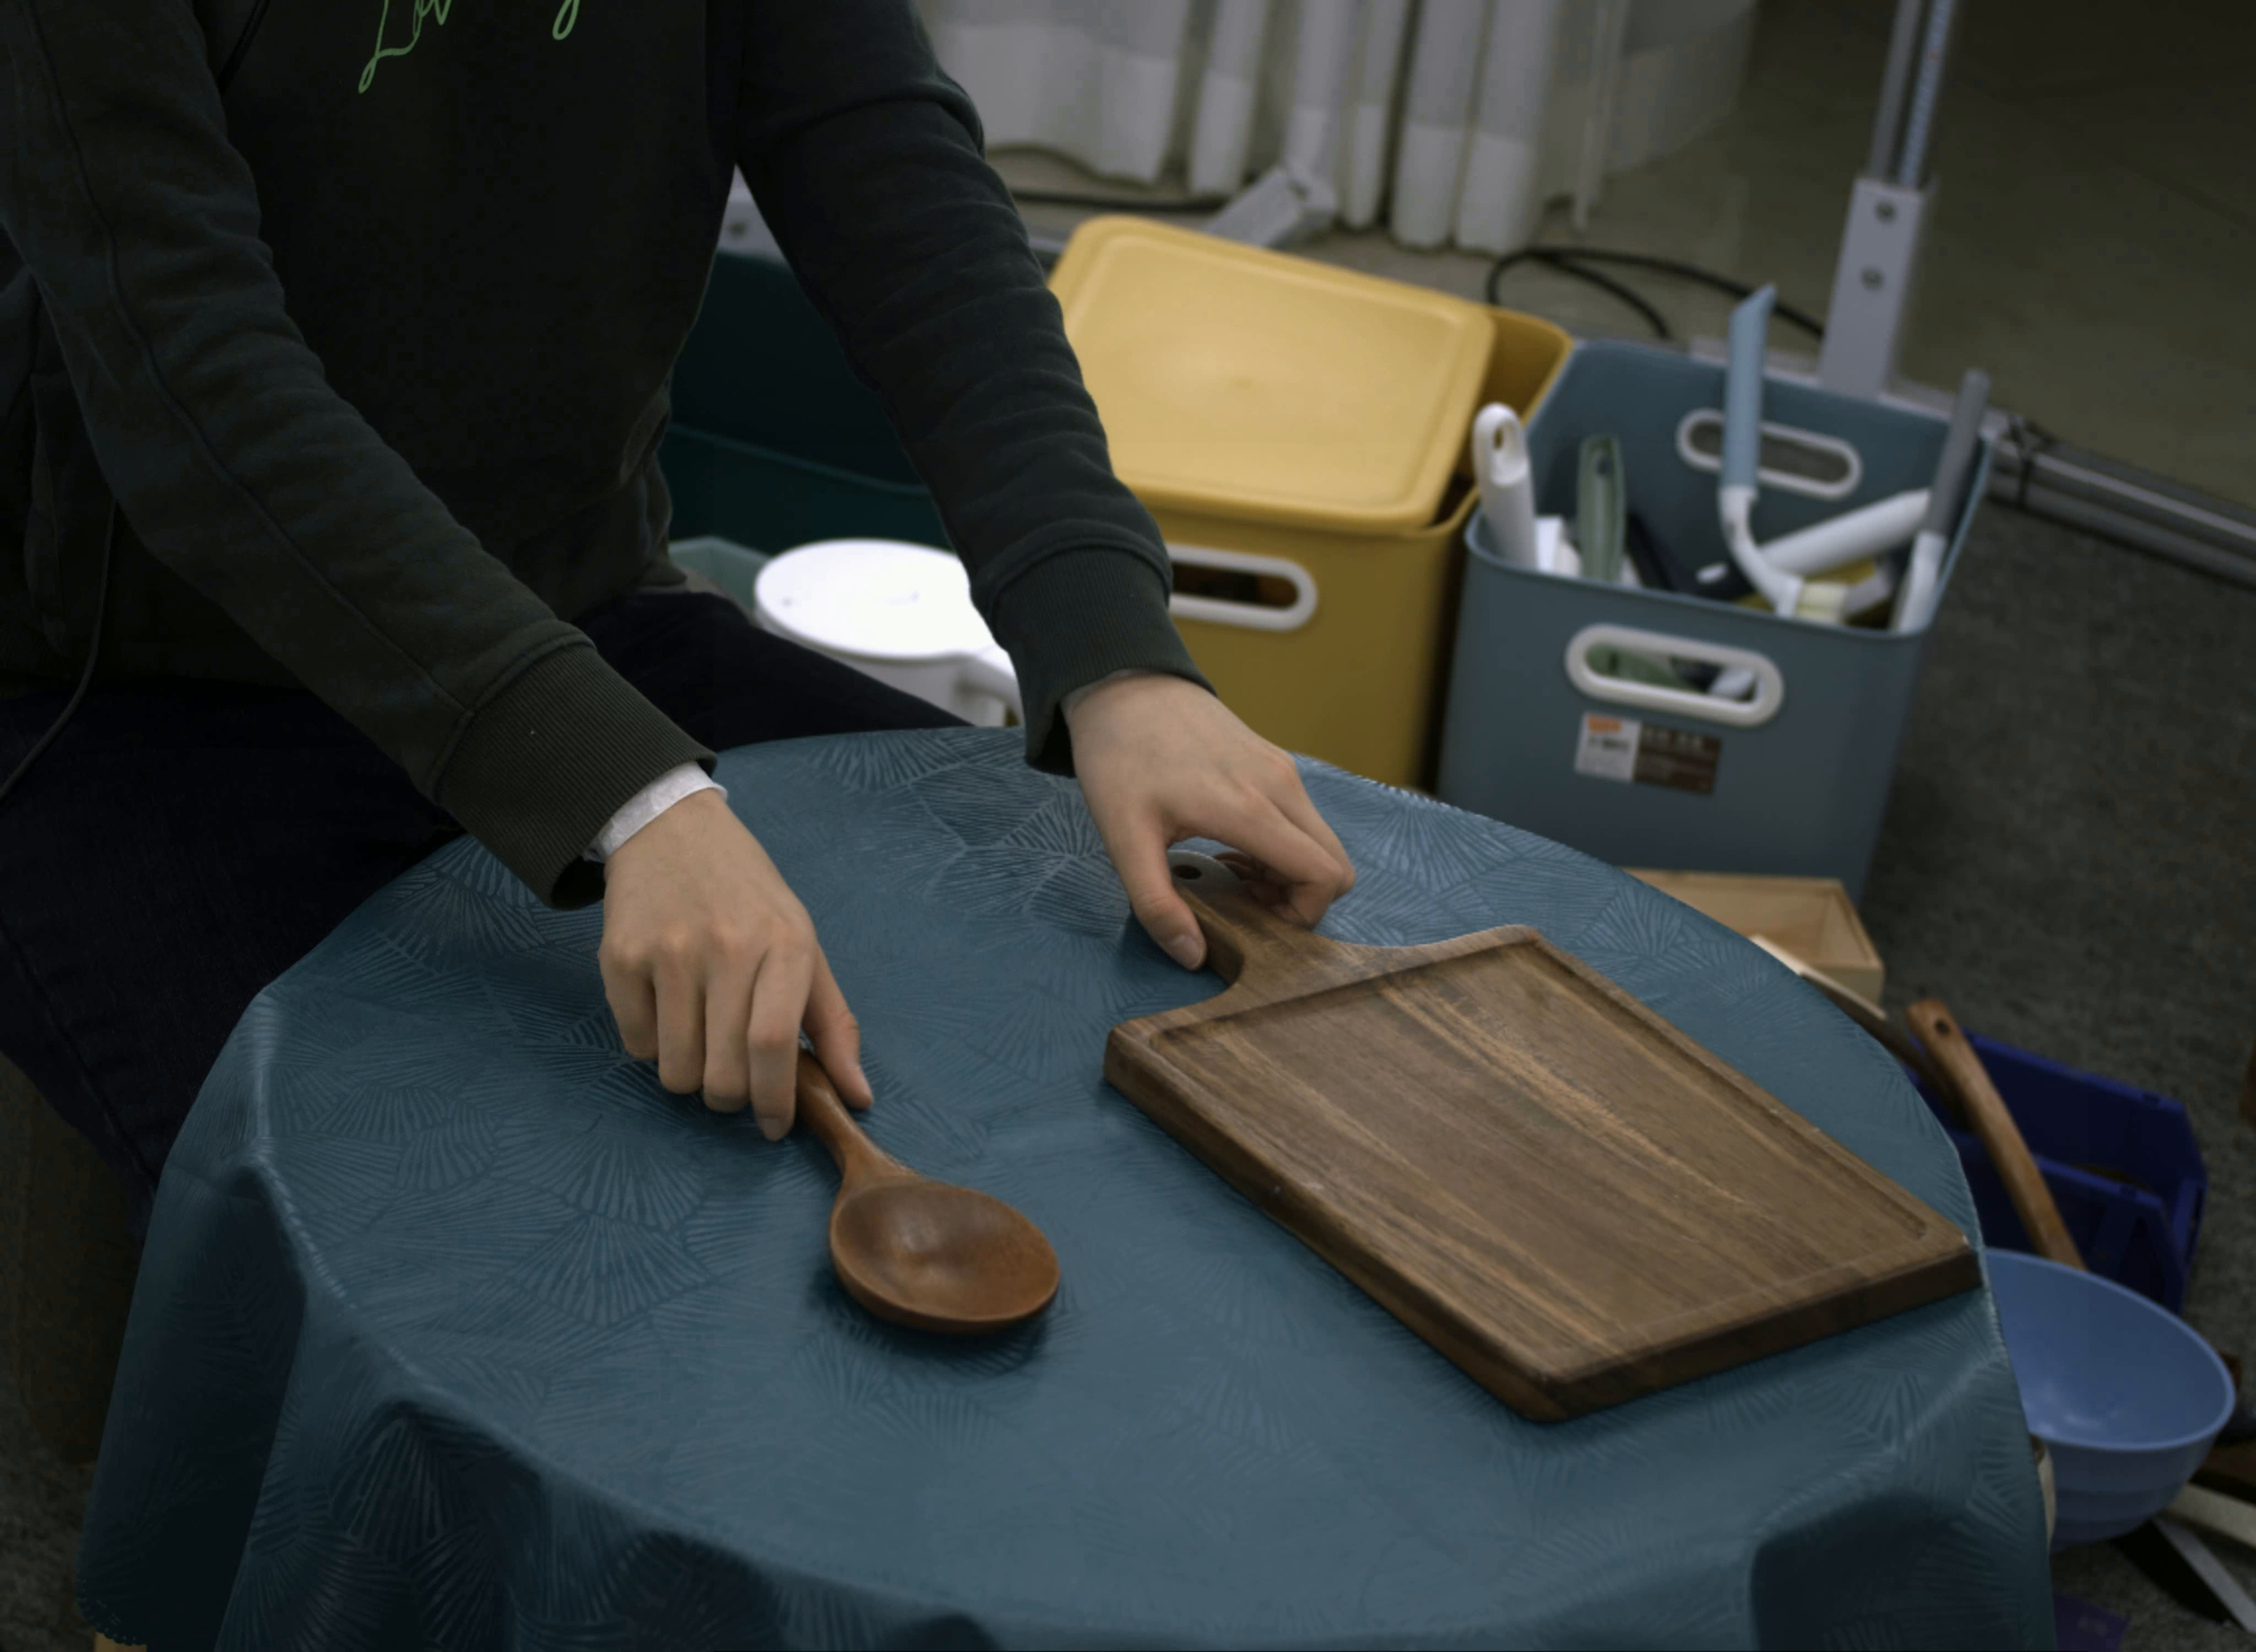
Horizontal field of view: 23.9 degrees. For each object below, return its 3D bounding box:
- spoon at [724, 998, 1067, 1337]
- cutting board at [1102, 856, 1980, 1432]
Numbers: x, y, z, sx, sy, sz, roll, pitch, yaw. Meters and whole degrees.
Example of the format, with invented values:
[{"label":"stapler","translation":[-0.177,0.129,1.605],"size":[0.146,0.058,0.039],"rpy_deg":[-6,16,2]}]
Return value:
[{"label":"spoon","translation":[-0.087,0.115,1.779],"size":[0.075,0.017,0.218],"rpy_deg":[-8,31,-24]},{"label":"cutting board","translation":[0.111,0.094,1.864],"size":[0.200,0.023,0.355],"rpy_deg":[-13,33,-33]}]
